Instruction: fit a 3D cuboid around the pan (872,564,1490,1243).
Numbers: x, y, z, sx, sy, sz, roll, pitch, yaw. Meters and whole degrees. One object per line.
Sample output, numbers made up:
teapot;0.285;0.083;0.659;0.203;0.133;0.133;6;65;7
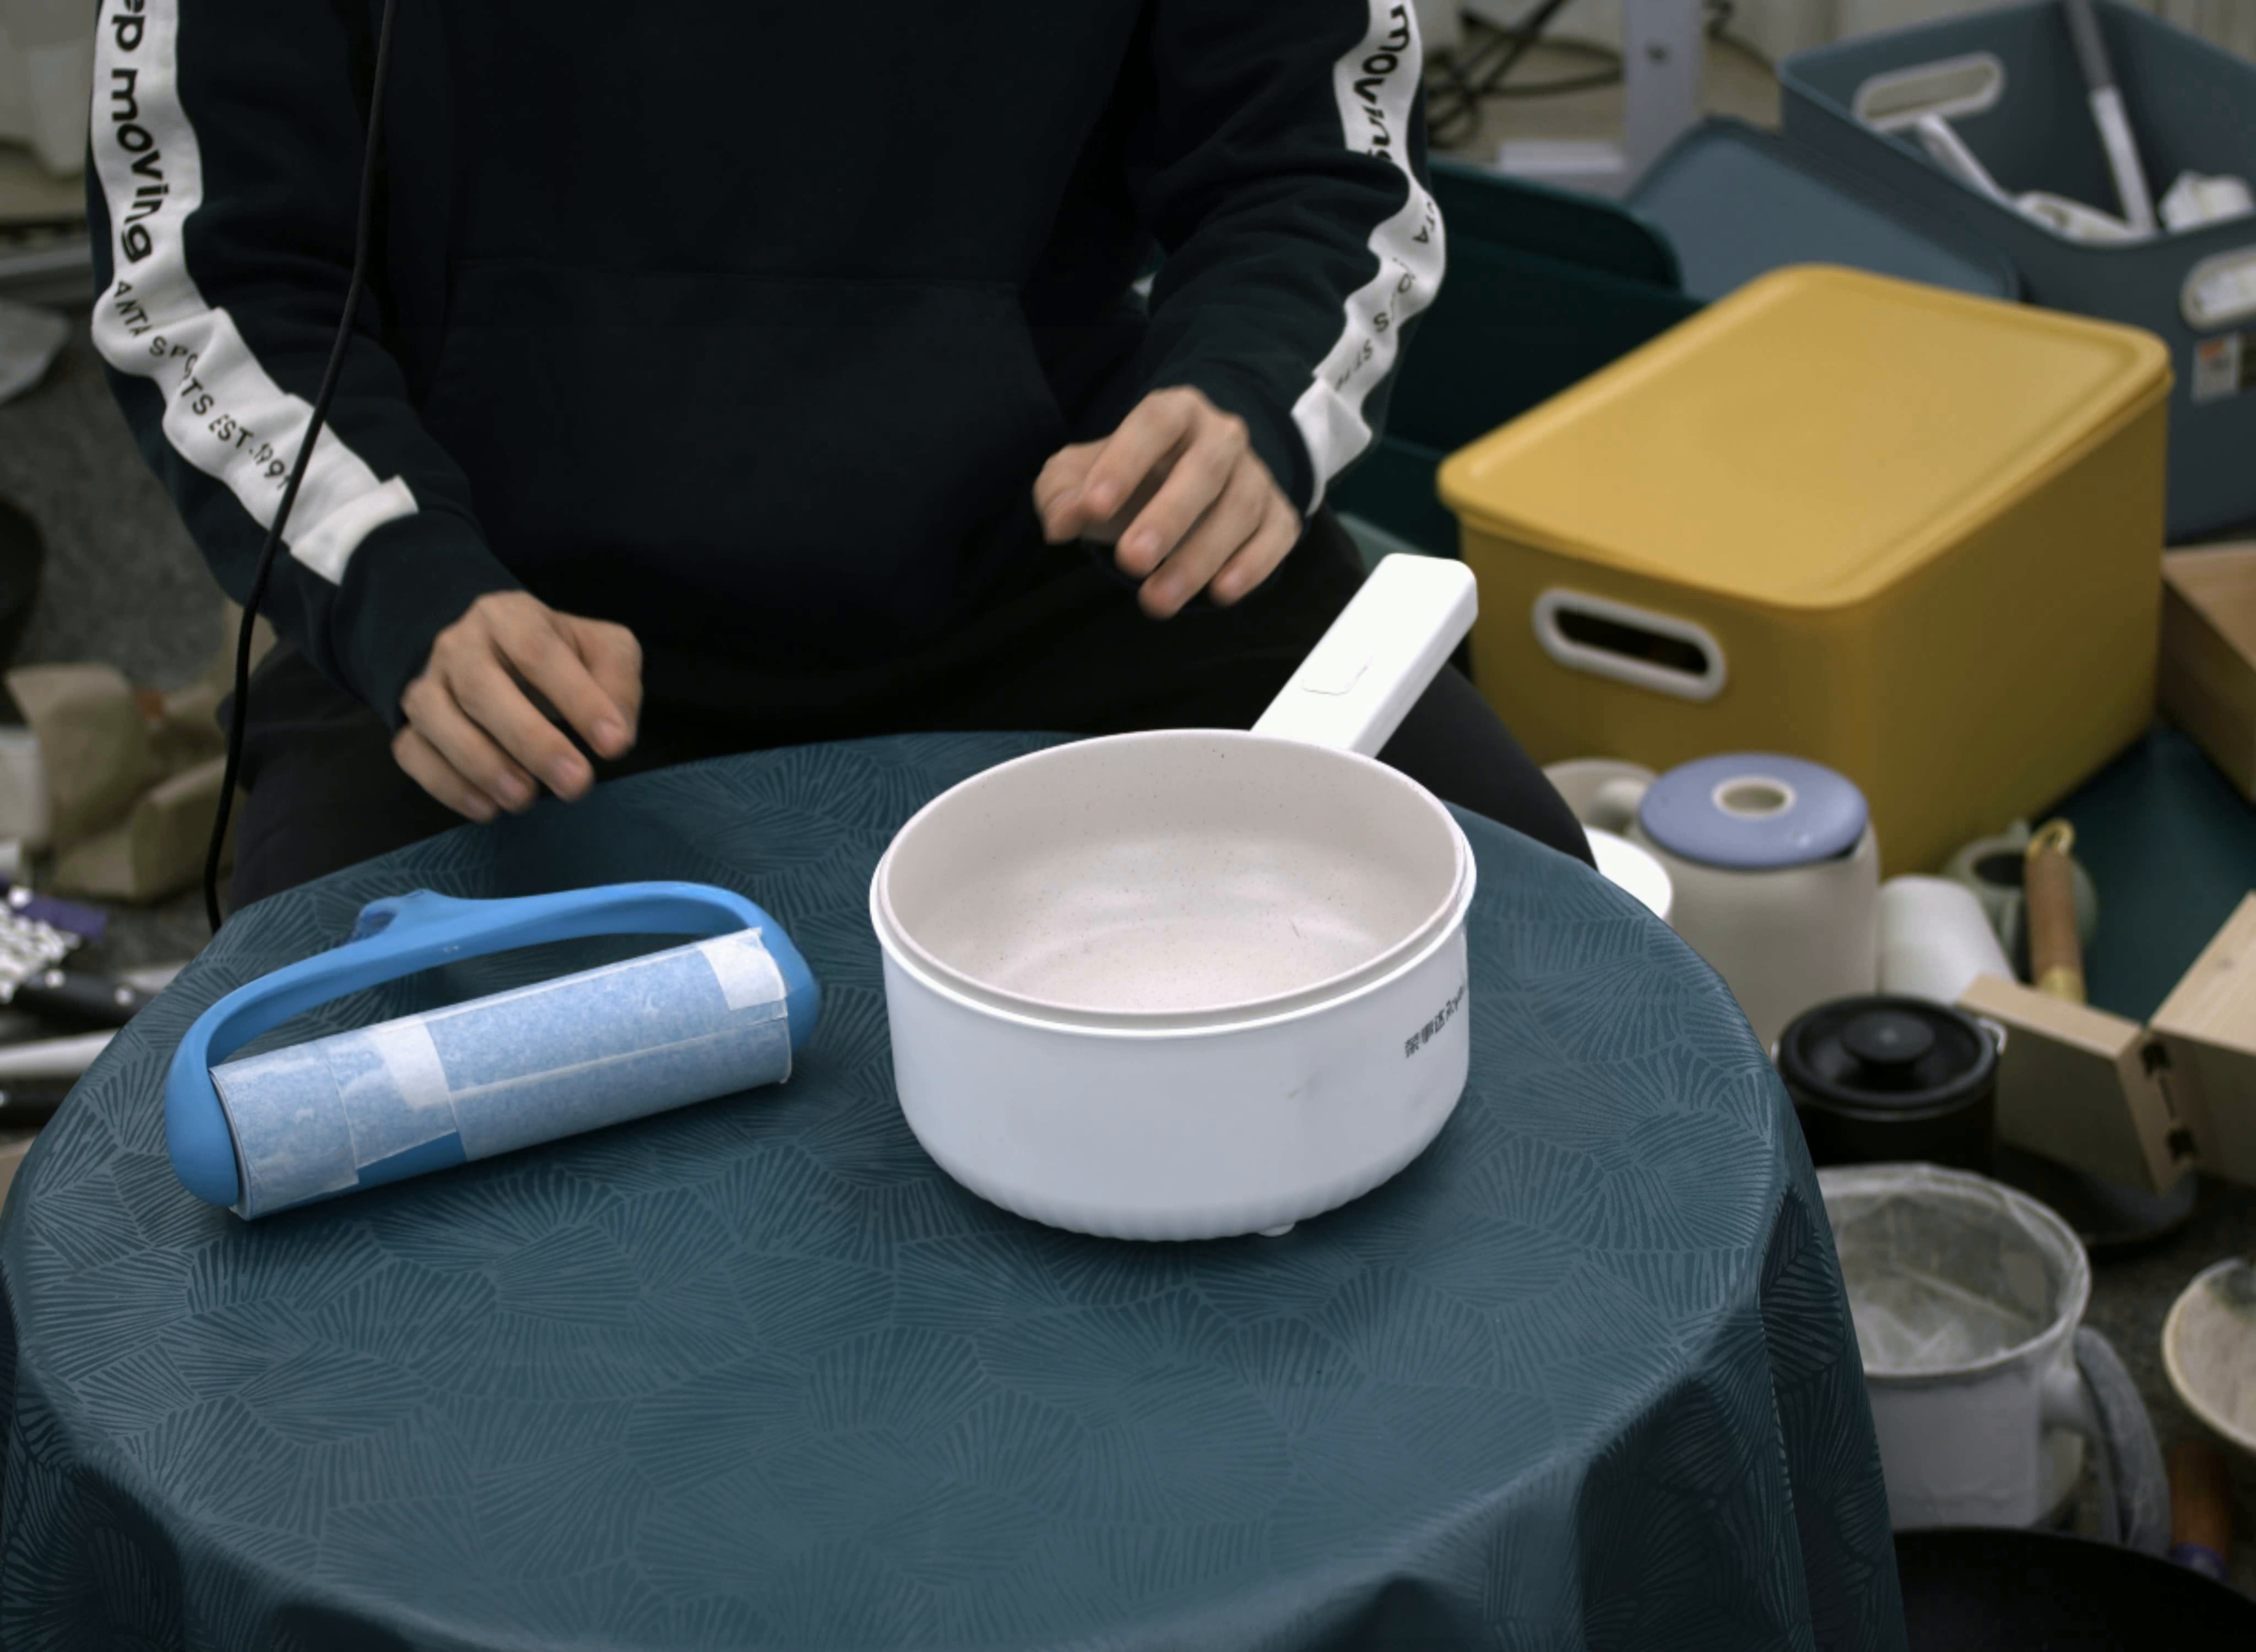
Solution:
pan;0.047;0.024;1.939;0.200;0.101;0.361;8;28;21

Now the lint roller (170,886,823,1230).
lint roller;-0.237;0.060;1.941;0.230;0.067;0.181;-17;31;-22
